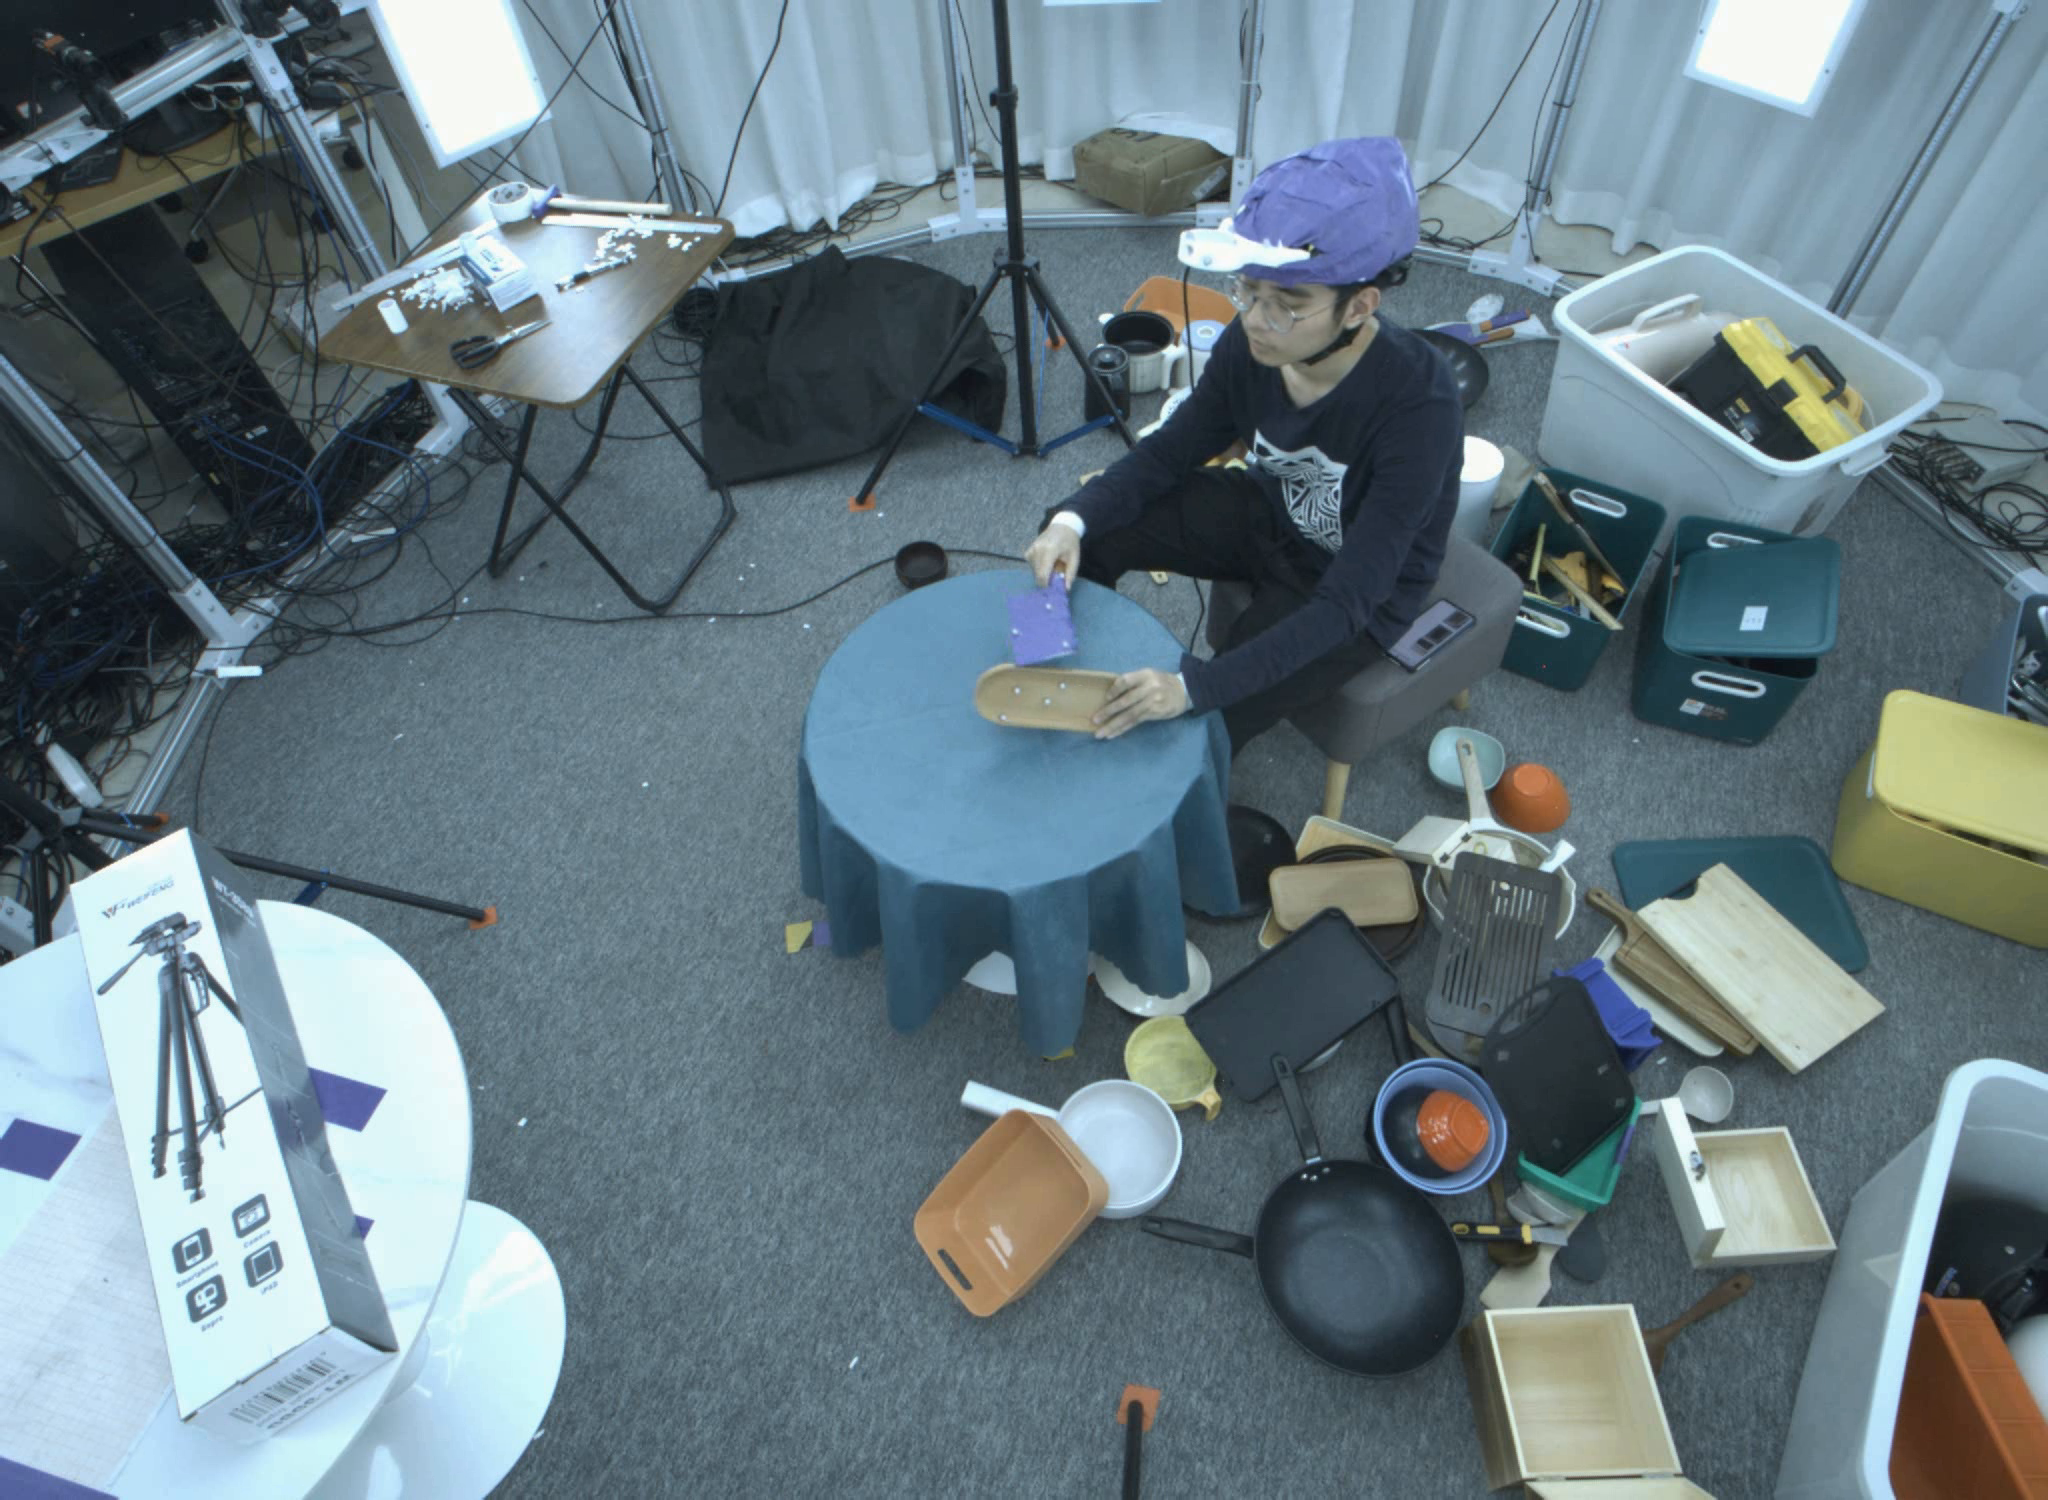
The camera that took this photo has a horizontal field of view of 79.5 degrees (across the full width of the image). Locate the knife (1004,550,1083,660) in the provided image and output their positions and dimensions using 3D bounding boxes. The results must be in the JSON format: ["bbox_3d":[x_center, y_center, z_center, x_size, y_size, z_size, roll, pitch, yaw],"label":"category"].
[{"bbox_3d":[0.020,-0.218,1.809,0.104,0.032,0.311,-12,31,3],"label":"knife"}]

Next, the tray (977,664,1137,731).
[{"bbox_3d":[0.047,-0.075,1.751,0.234,0.102,0.020,2,38,-15],"label":"tray"}]
